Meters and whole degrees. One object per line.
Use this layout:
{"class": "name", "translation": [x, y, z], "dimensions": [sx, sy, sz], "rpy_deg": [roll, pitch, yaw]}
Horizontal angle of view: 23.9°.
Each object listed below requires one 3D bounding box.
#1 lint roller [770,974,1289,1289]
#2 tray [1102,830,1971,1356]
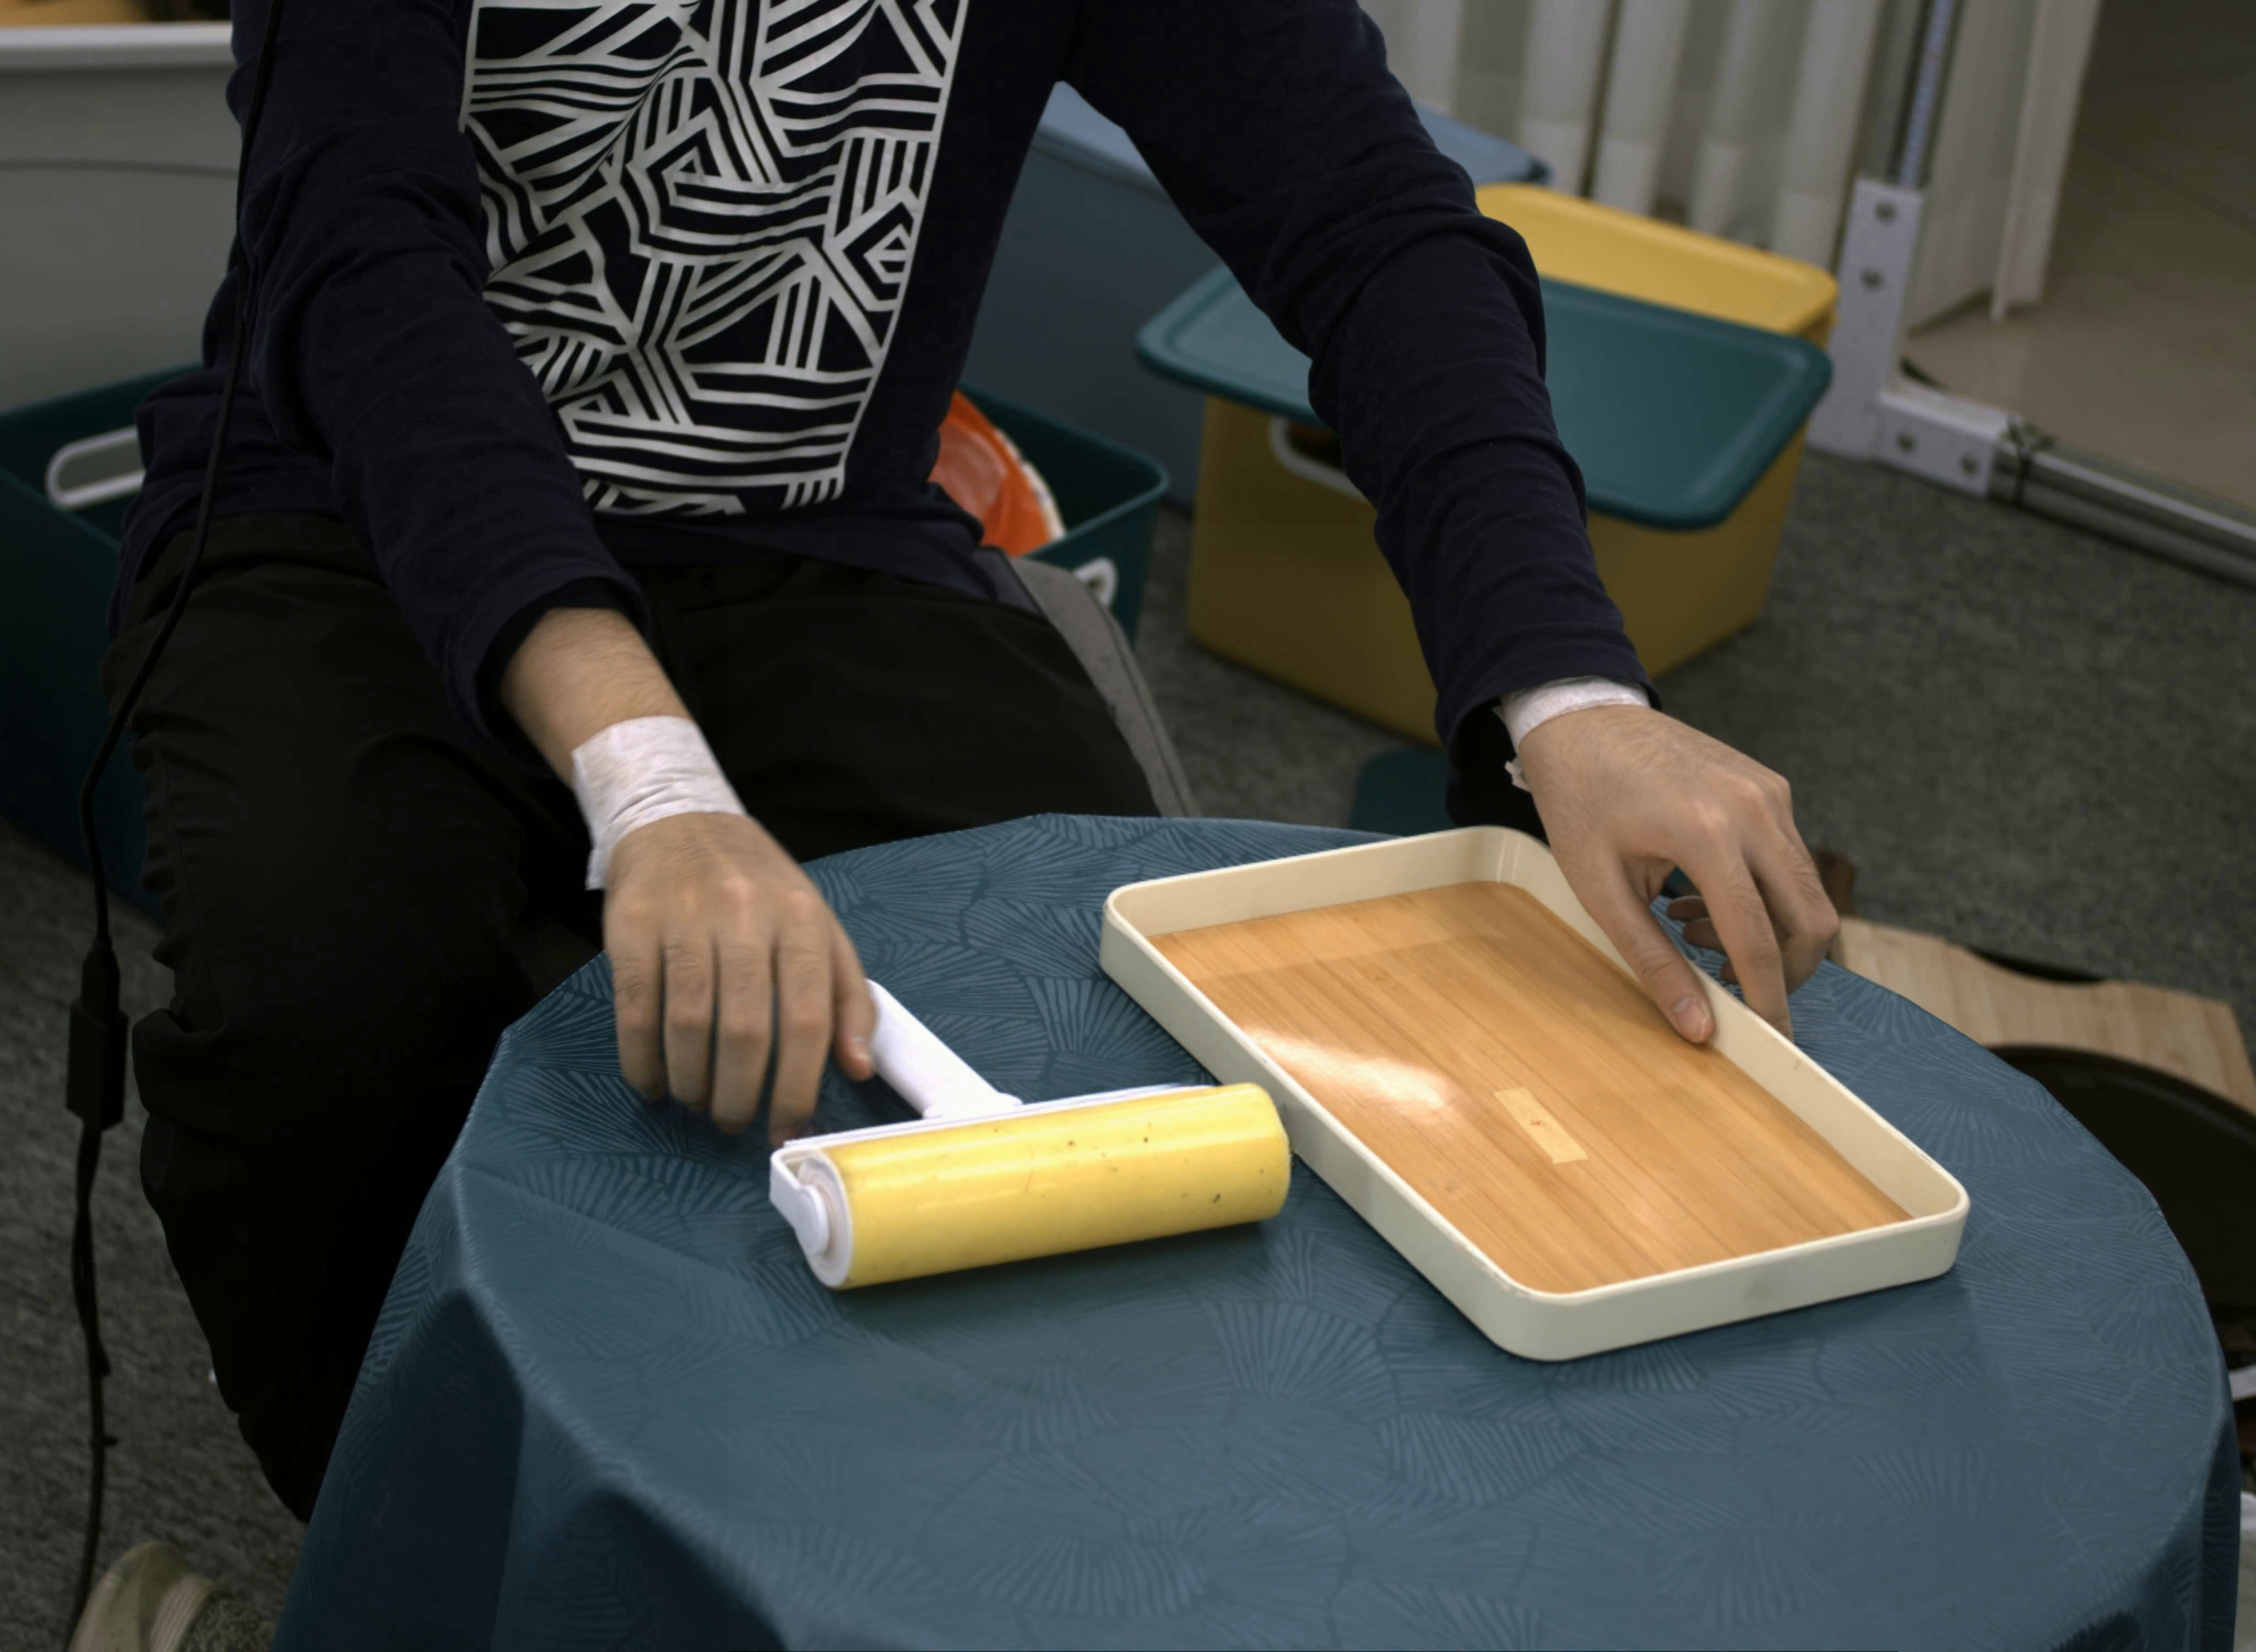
{"class": "lint roller", "translation": [-0.061, 0.086, 1.812], "dimensions": [0.173, 0.051, 0.194], "rpy_deg": [-7, 33, -27]}
{"class": "tray", "translation": [0.138, 0.088, 1.878], "dimensions": [0.190, 0.027, 0.303], "rpy_deg": [-8, 30, -28]}
